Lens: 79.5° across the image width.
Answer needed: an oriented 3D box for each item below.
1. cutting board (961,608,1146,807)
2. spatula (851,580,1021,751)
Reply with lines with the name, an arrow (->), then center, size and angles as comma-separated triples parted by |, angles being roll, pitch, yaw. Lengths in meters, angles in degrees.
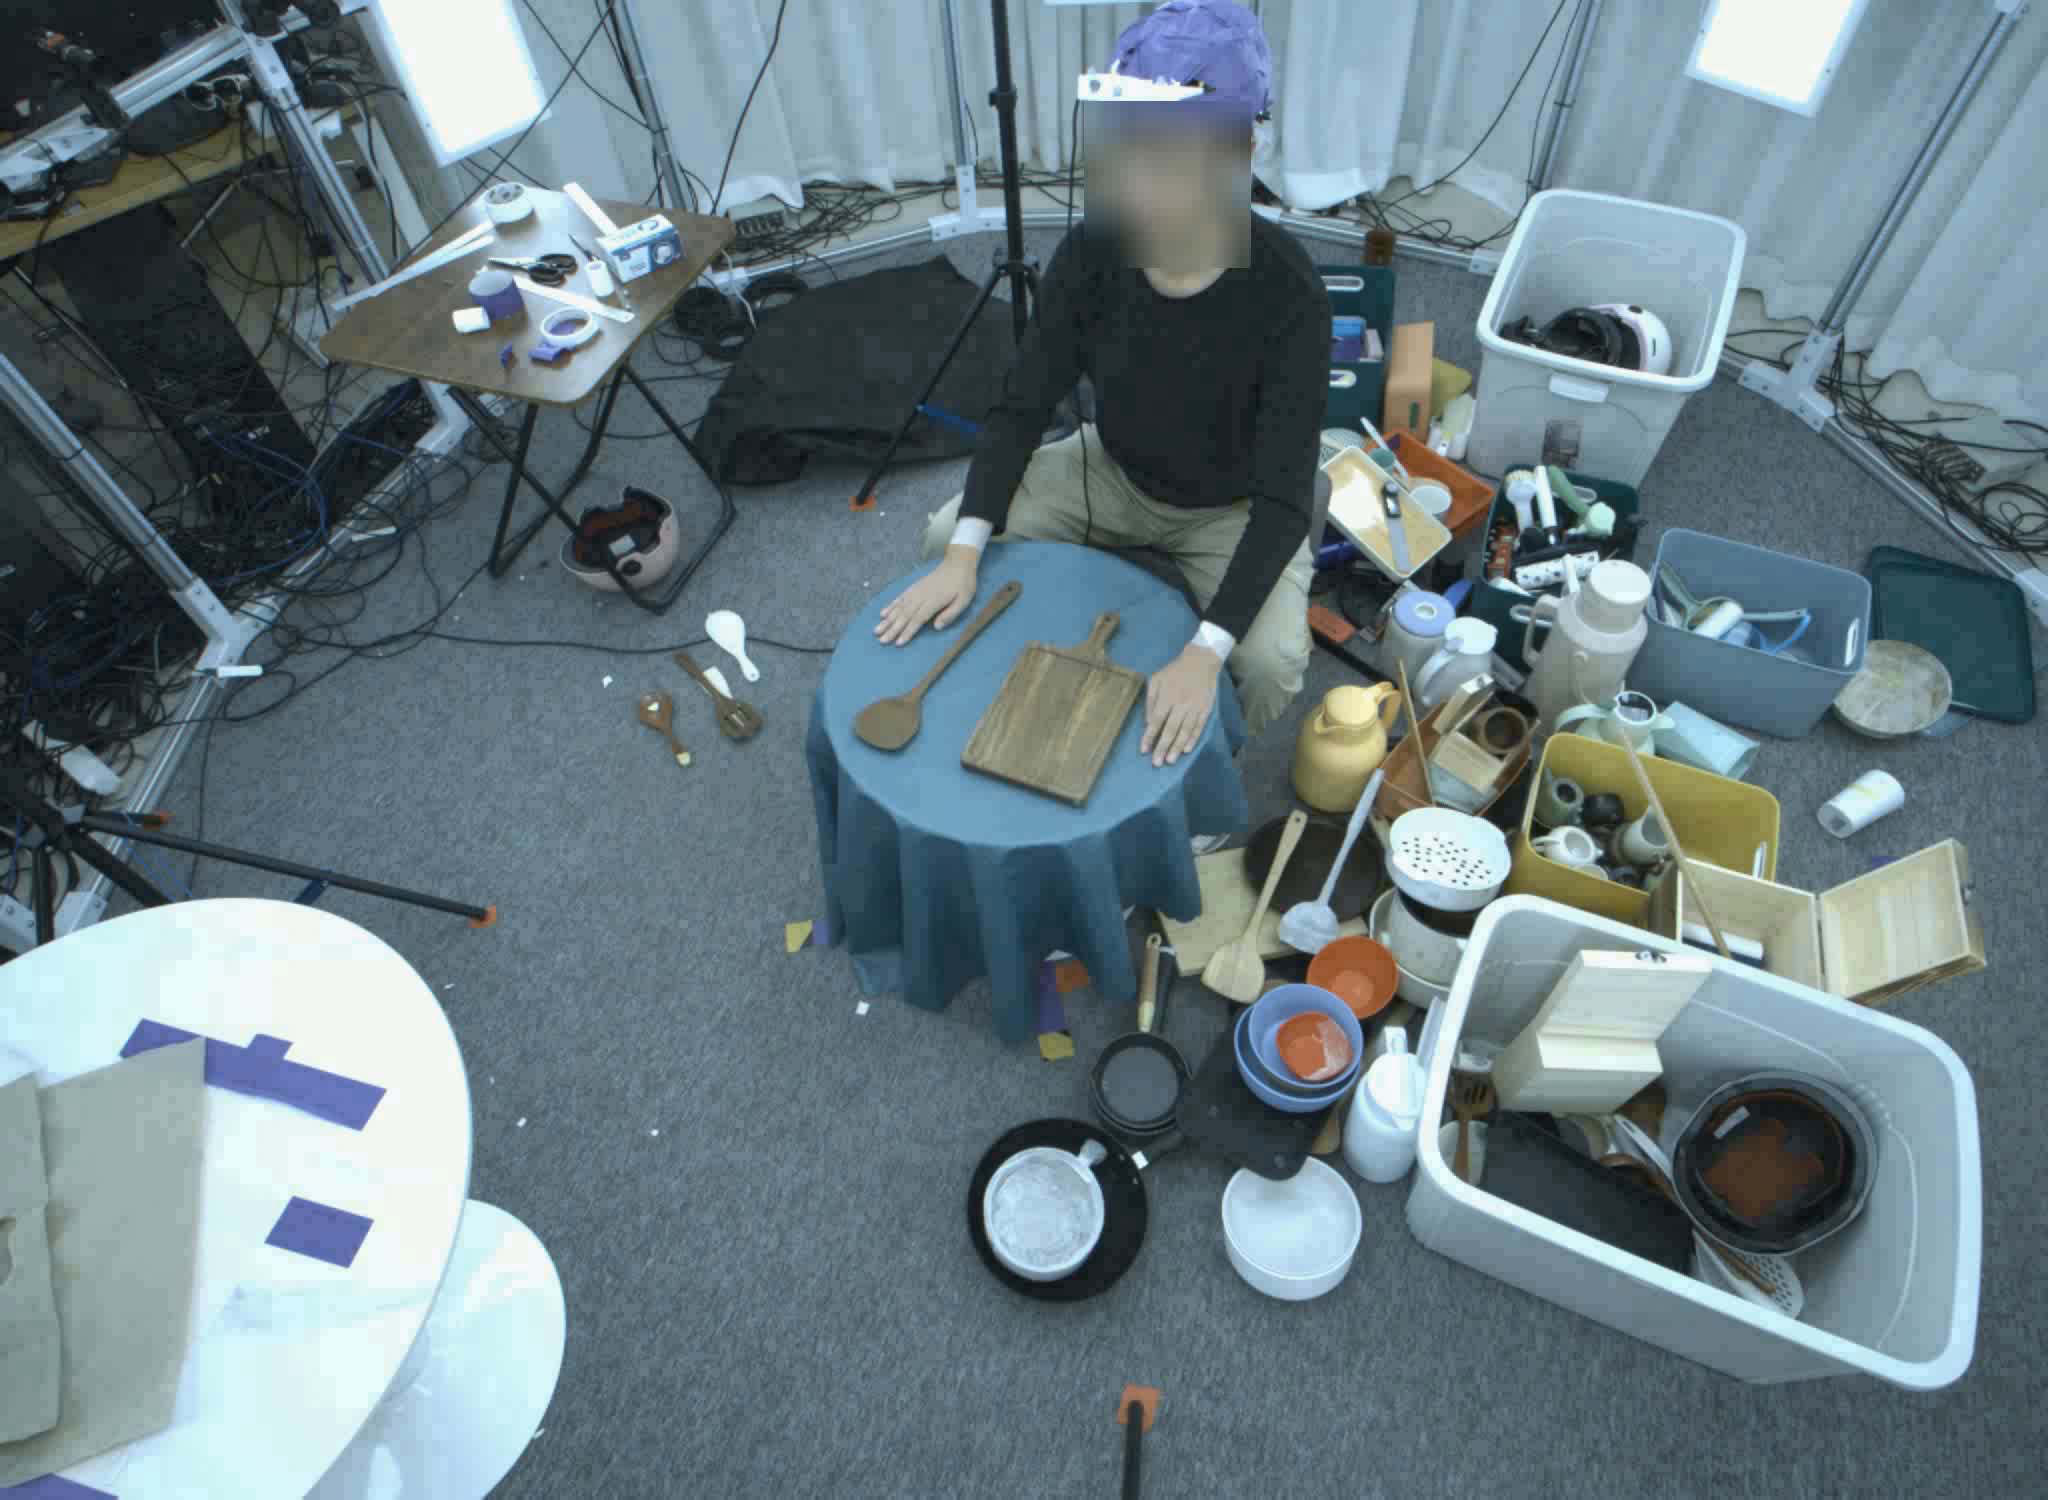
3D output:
cutting board -> 0.066, -0.082, 1.831 | 0.199, 0.023, 0.352 | 19, 58, 14
spatula -> -0.119, -0.141, 1.882 | 0.094, 0.016, 0.387 | 28, 60, 20
